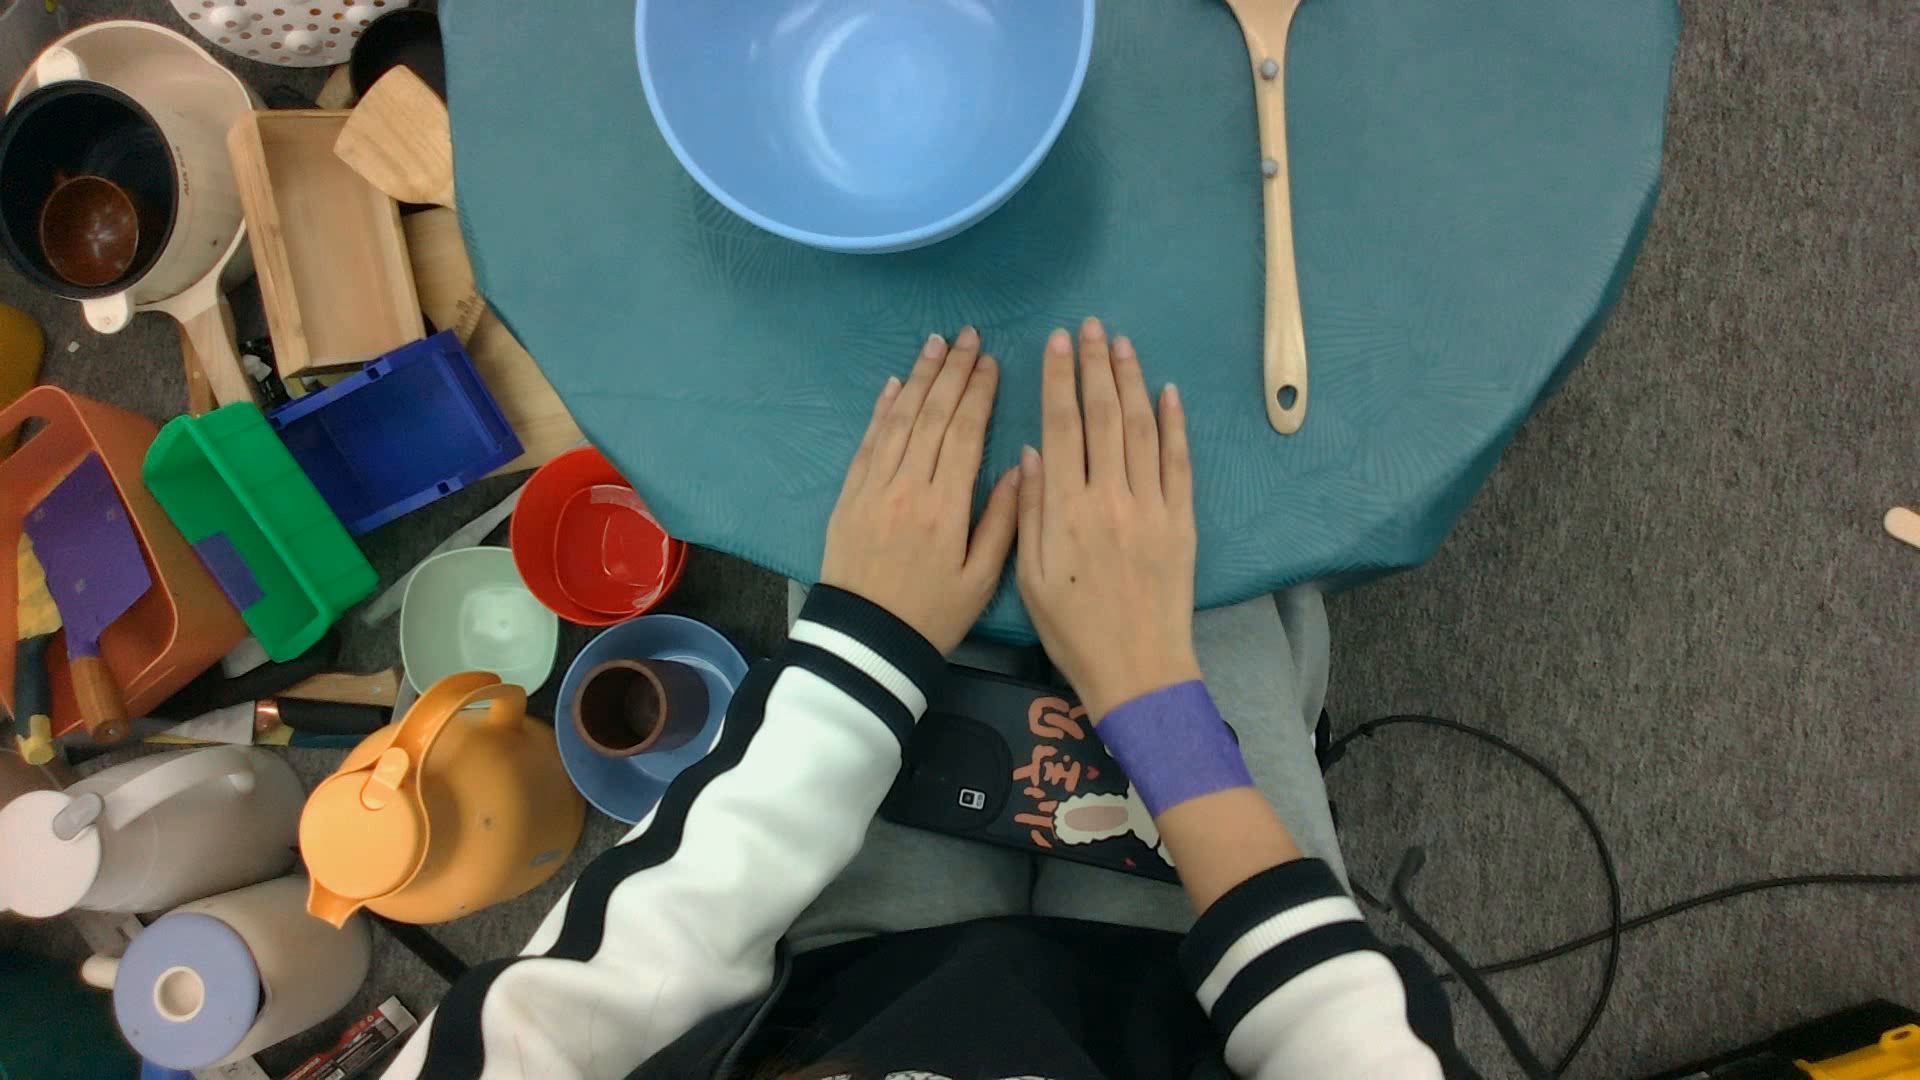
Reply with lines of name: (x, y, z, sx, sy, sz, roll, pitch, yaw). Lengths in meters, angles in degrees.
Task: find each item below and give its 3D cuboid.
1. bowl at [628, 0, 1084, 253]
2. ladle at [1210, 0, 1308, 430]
bowl: (-0.043, -0.218, 0.635, 0.196, 0.095, 0.196, 0, 86, 3)
ladle: (0.147, -0.181, 0.624, 0.072, 0.073, 0.254, -4, 85, -4)
